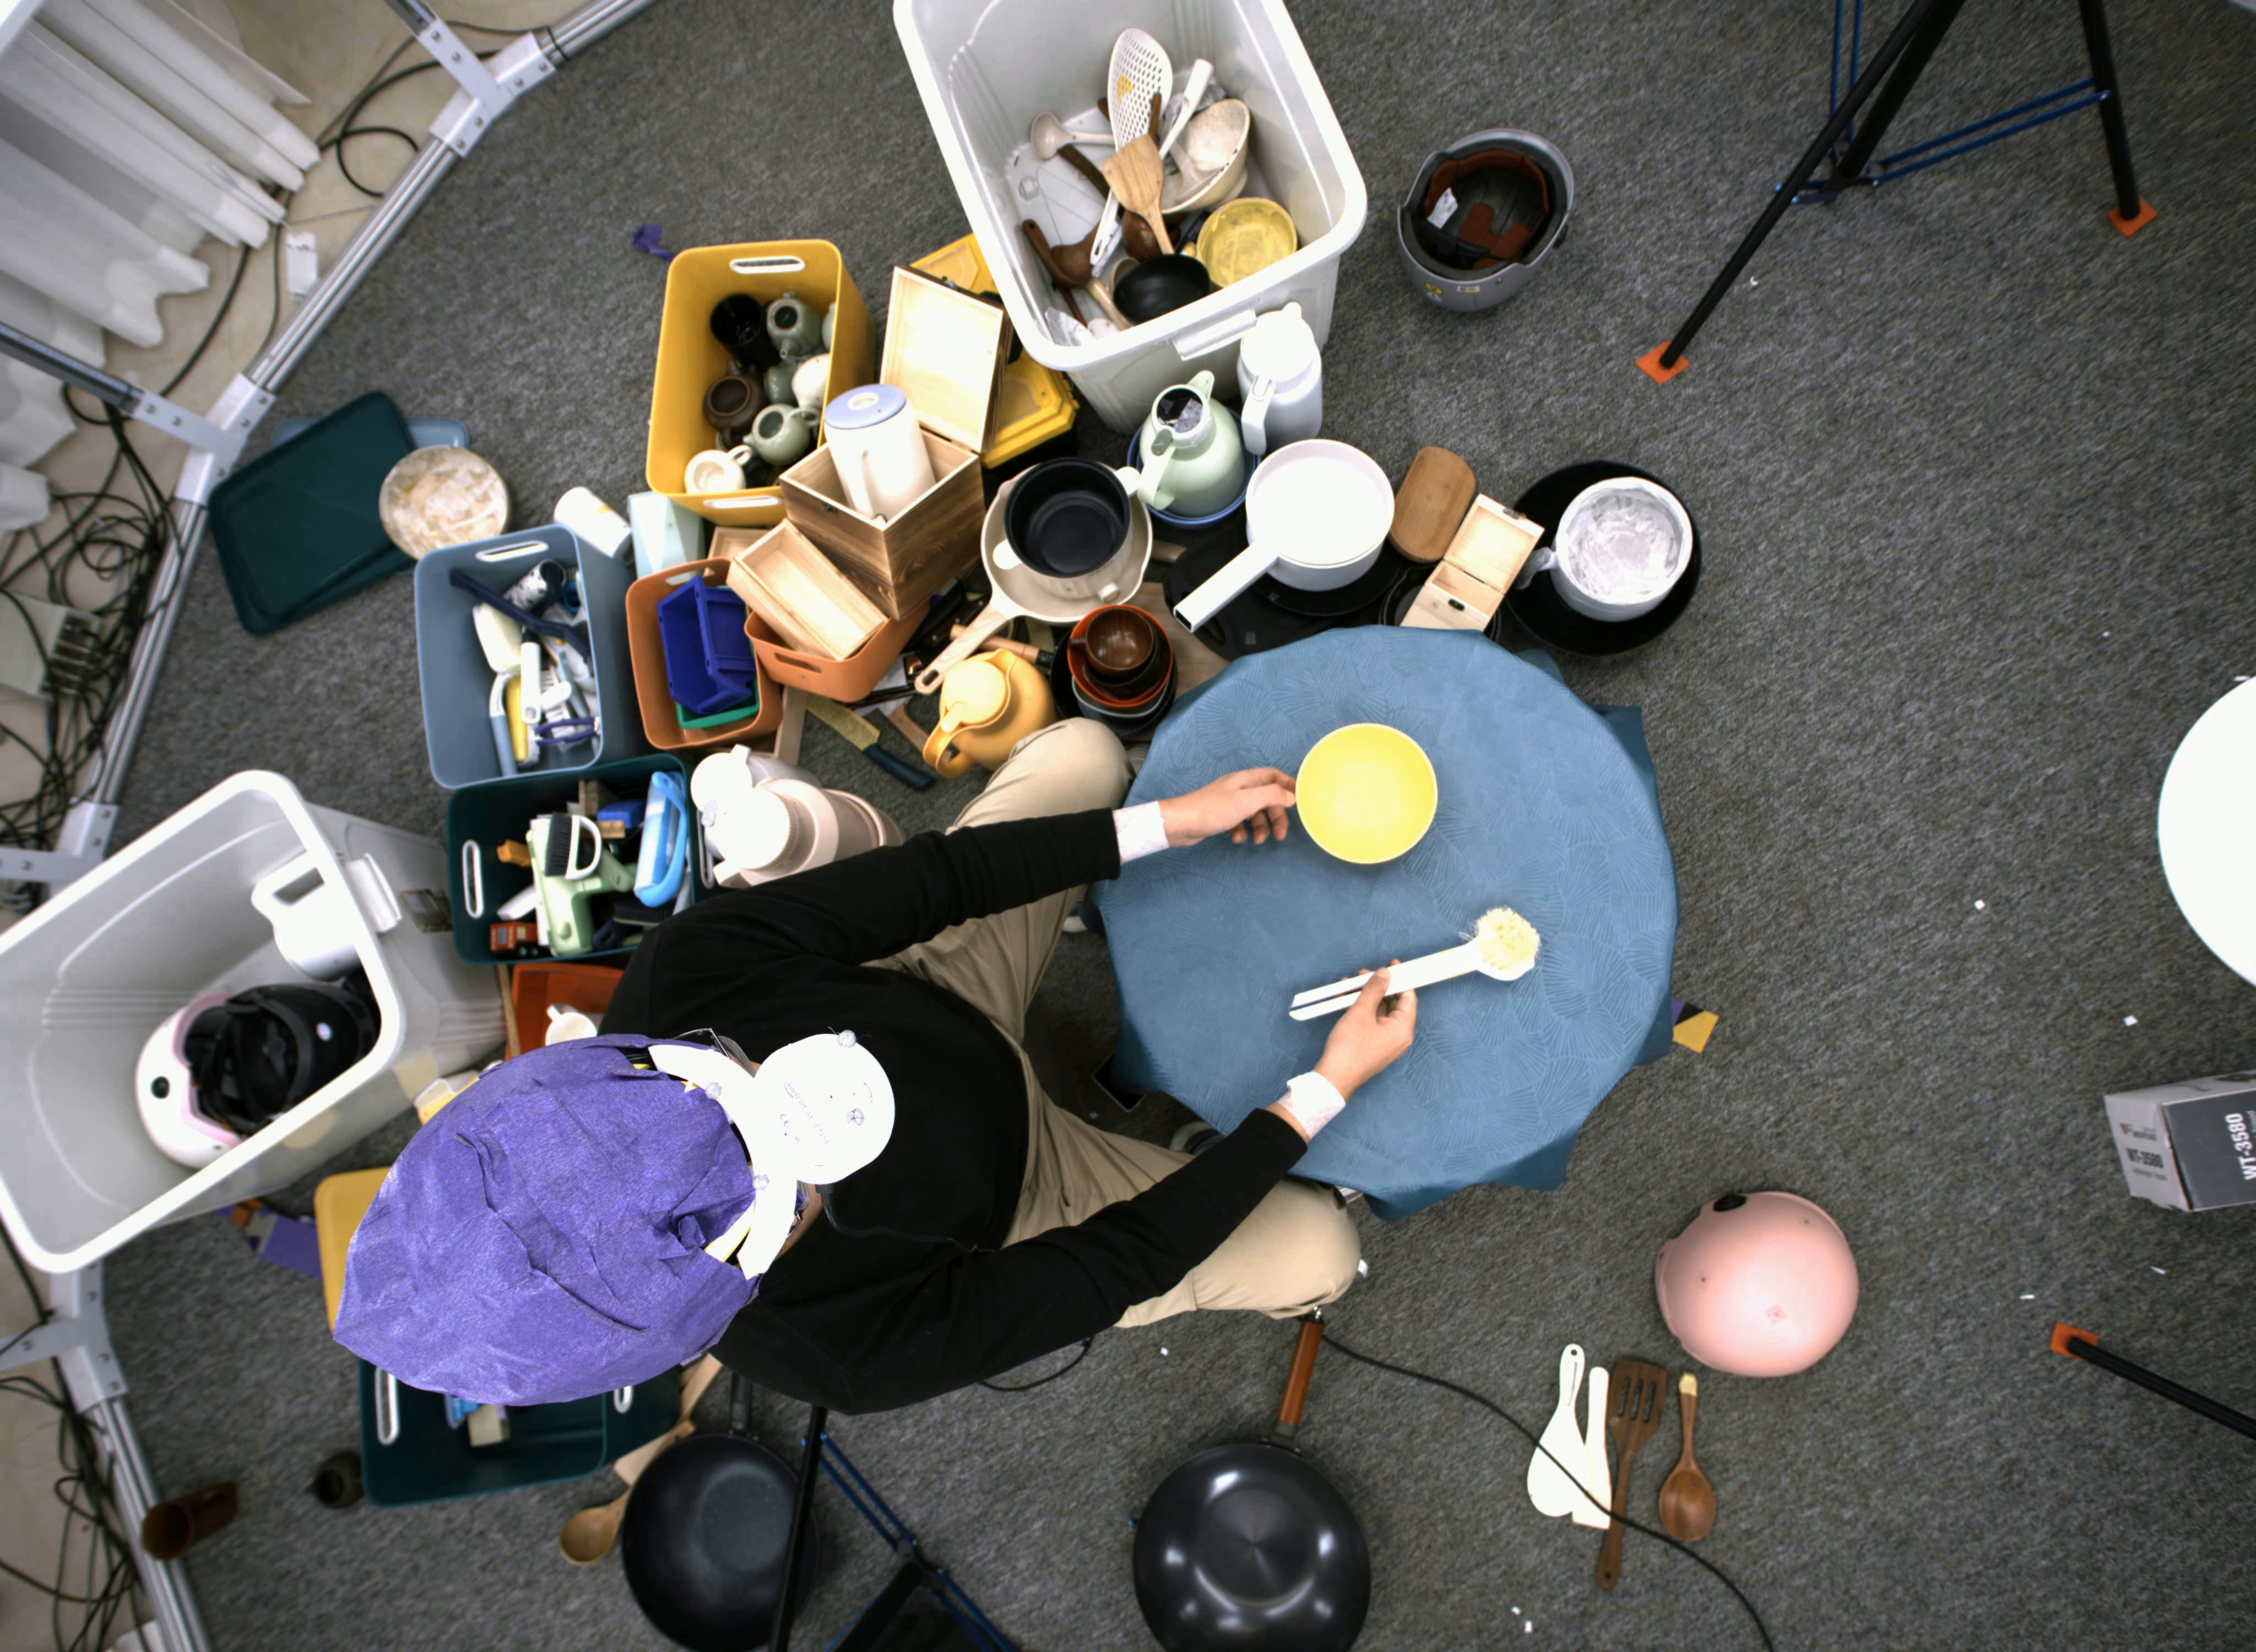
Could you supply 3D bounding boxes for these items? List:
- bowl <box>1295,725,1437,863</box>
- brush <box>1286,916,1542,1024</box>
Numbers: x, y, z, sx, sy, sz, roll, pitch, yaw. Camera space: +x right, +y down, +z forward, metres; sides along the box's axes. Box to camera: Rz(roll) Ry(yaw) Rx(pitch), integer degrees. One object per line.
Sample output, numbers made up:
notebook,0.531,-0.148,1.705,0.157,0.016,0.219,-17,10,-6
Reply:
bowl,0.249,-0.031,1.440,0.146,0.060,0.144,-1,85,11
brush,0.289,0.150,1.407,0.267,0.057,0.067,-13,51,5
